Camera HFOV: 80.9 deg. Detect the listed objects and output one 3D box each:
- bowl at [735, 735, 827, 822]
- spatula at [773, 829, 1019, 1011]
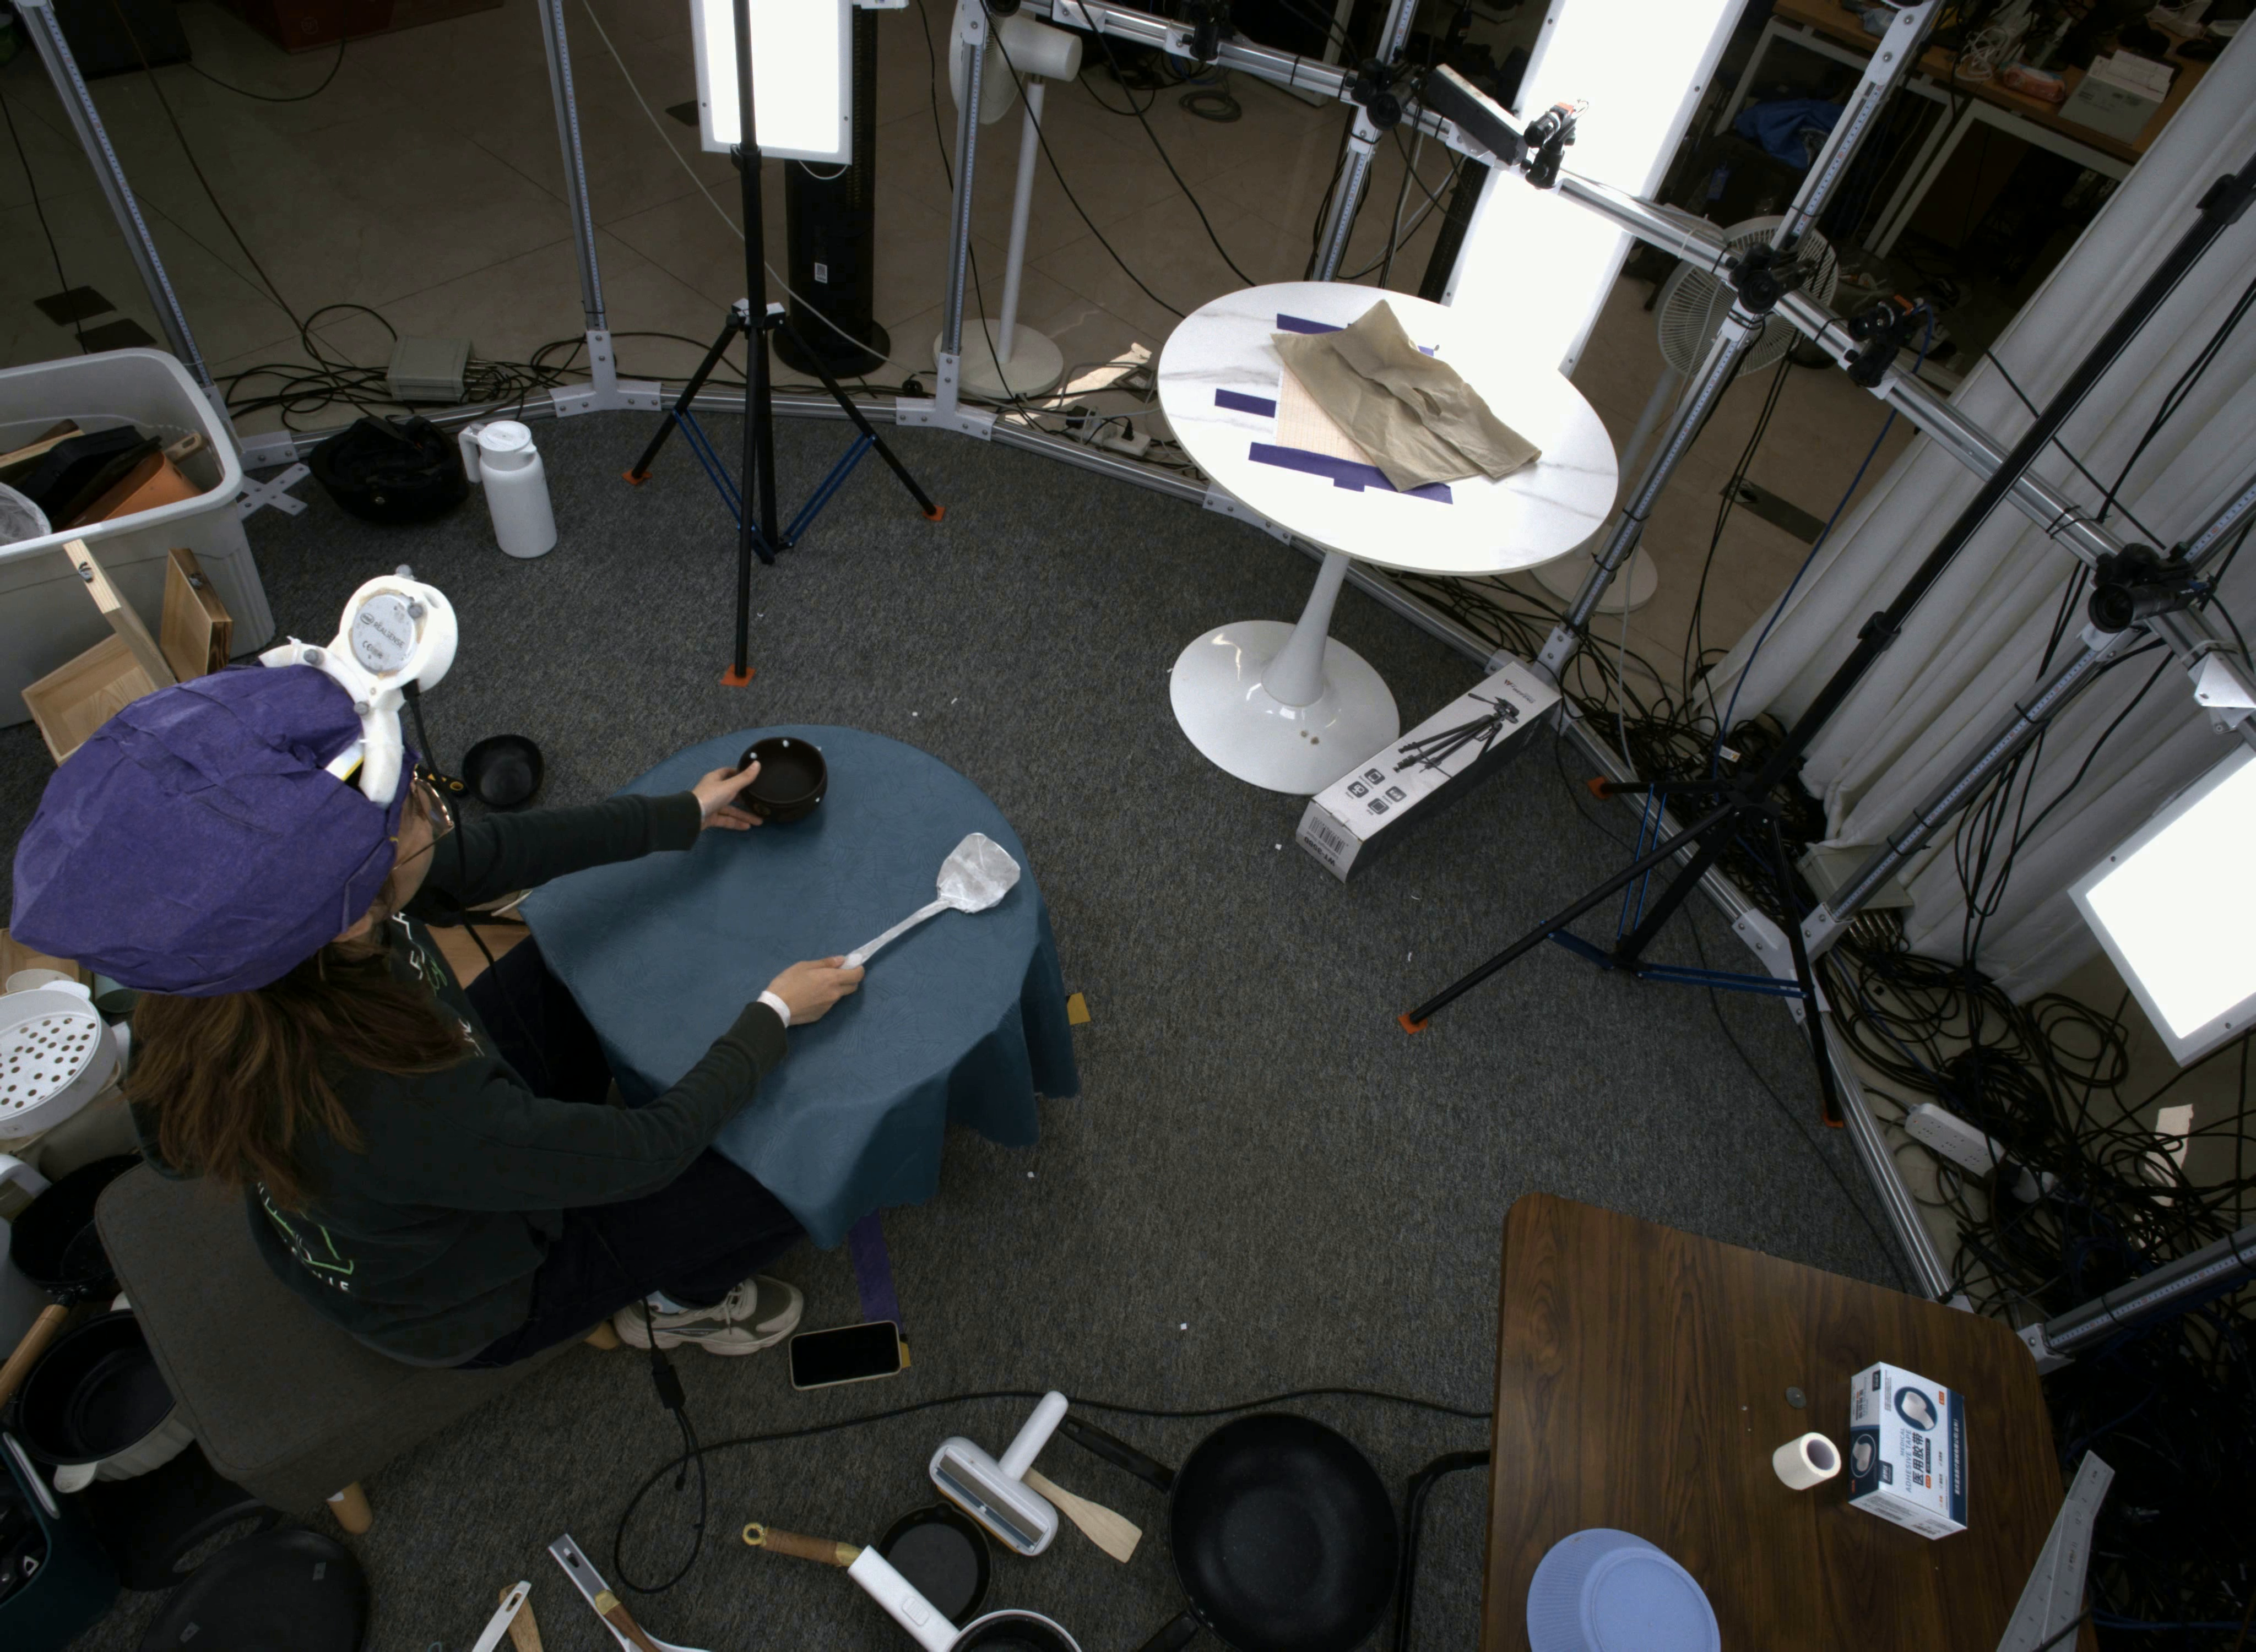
[{"bbox_3d":[-0.458,-0.055,1.716,0.117,0.071,0.116,6,53,-6],"label":"bowl"},{"bbox_3d":[-0.293,0.124,1.643,0.096,0.045,0.366,43,54,17],"label":"spatula"}]
